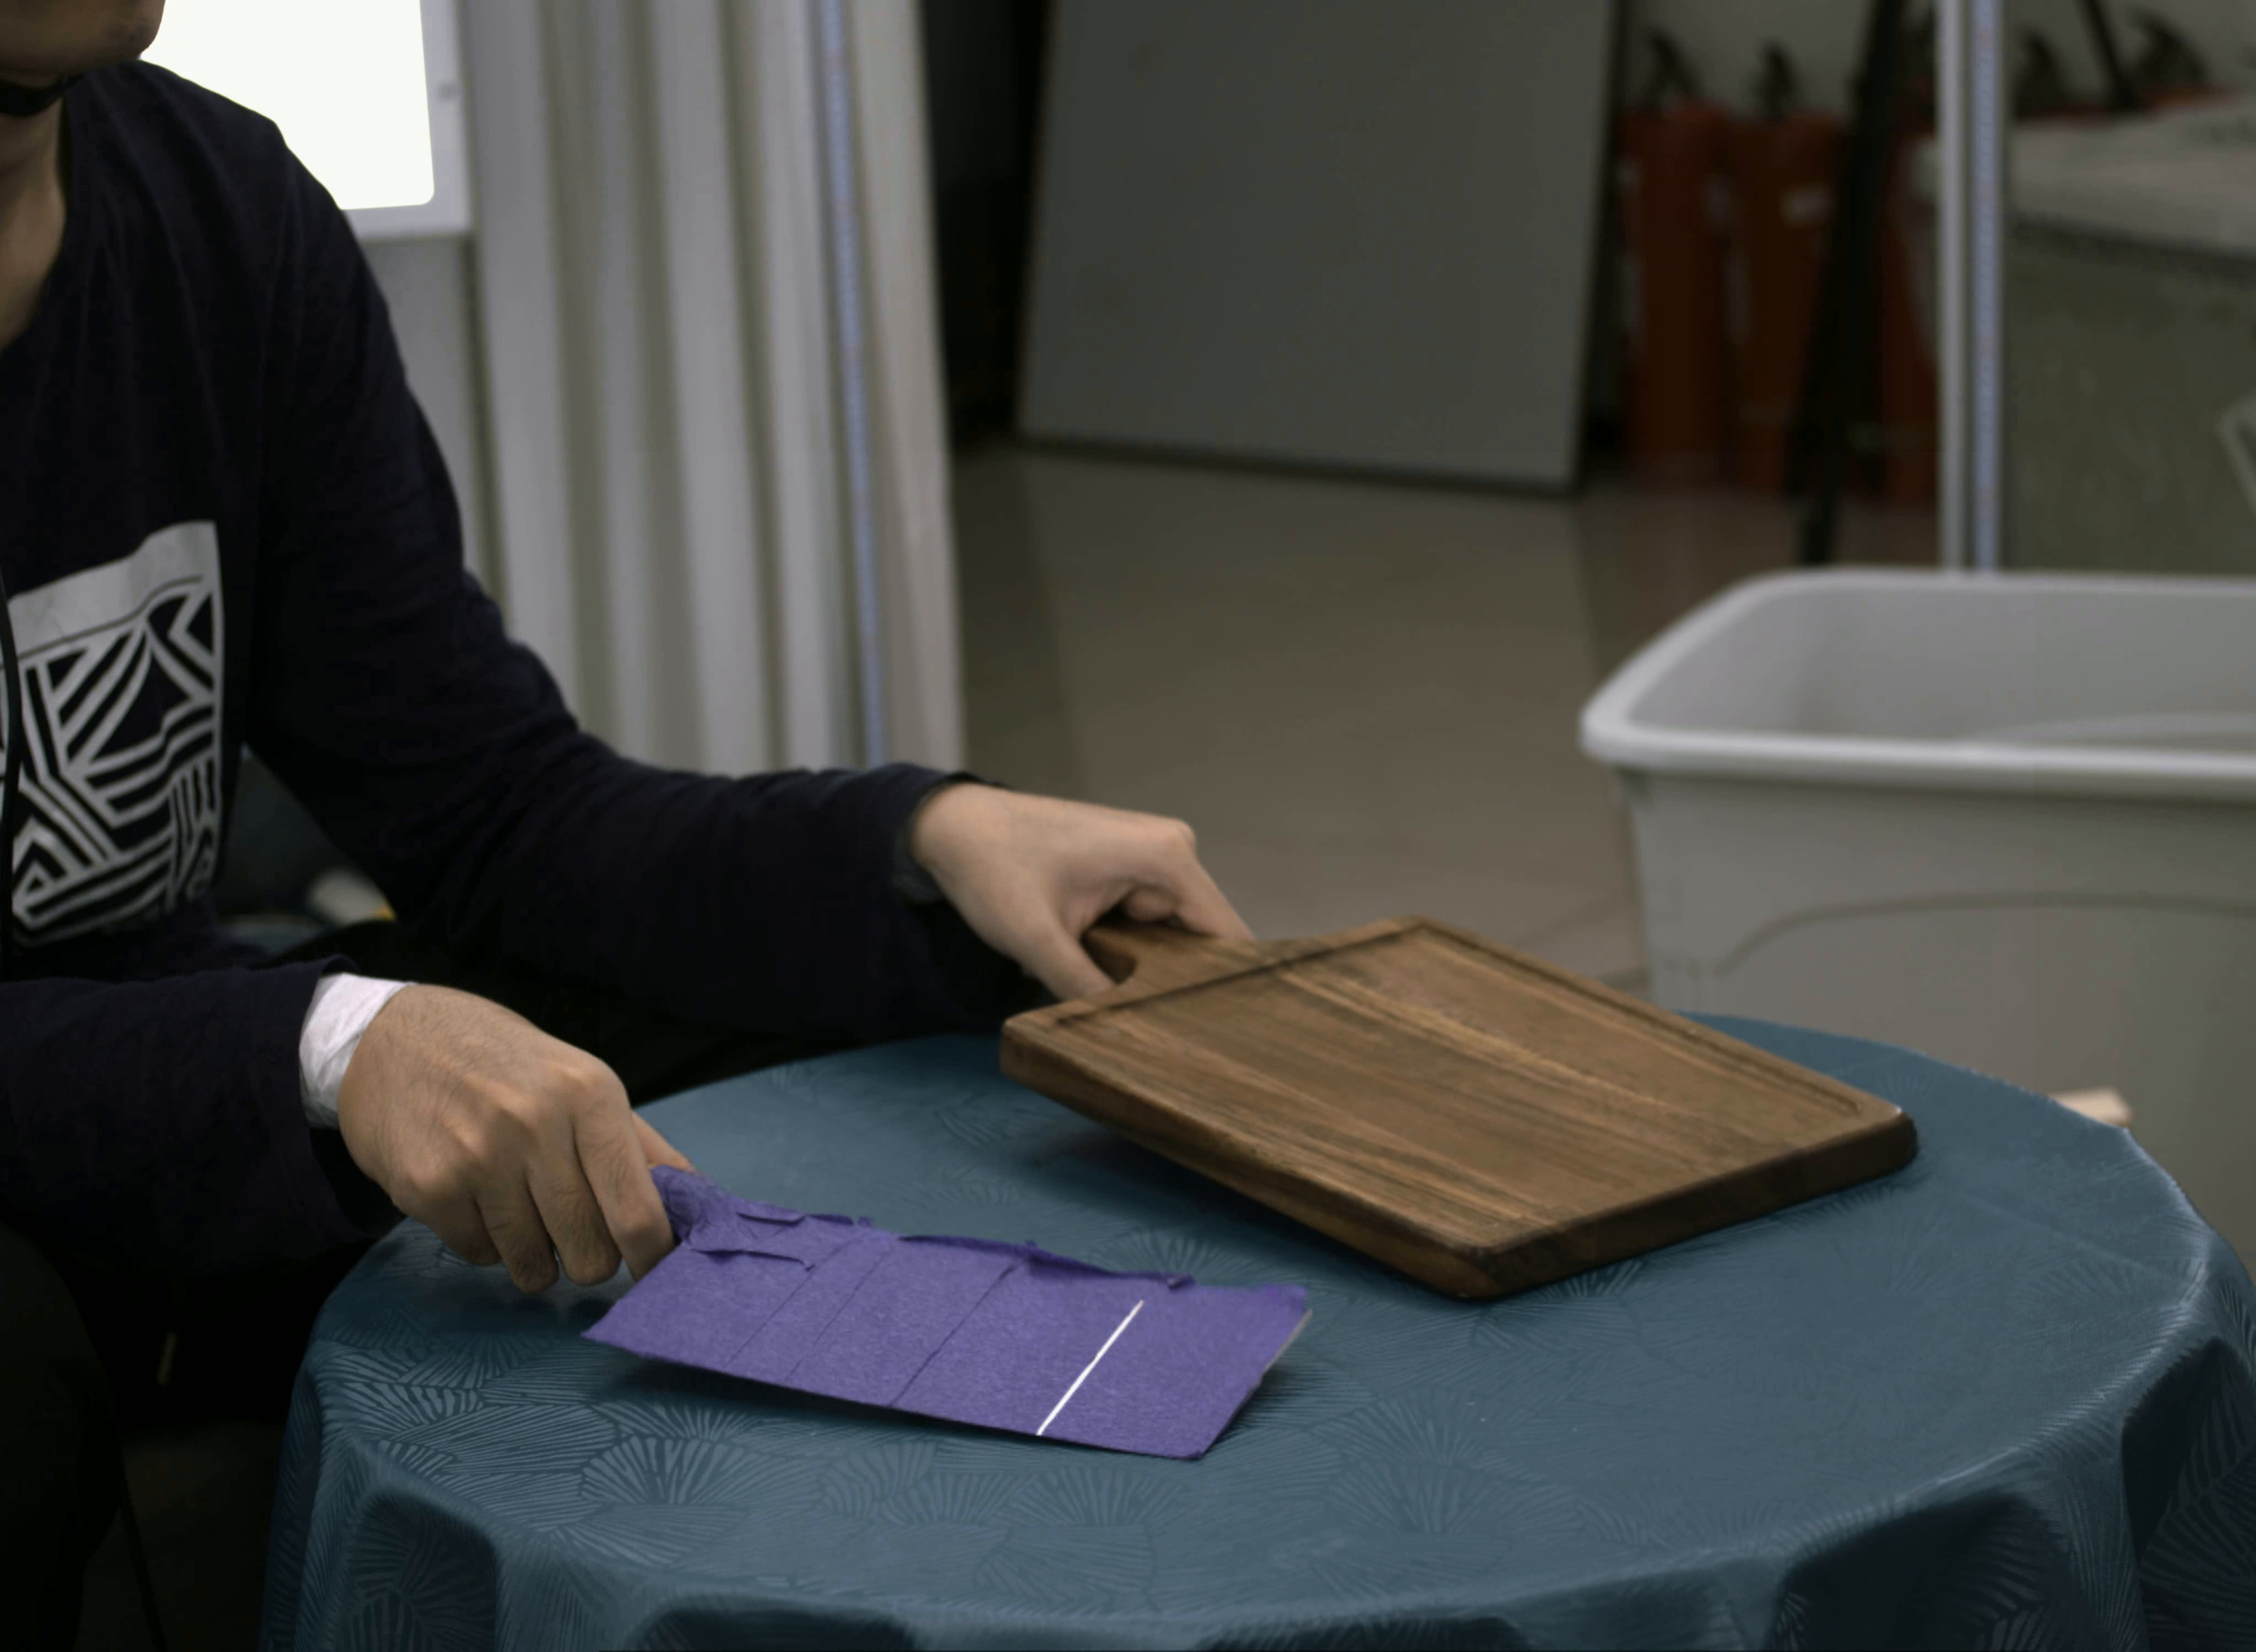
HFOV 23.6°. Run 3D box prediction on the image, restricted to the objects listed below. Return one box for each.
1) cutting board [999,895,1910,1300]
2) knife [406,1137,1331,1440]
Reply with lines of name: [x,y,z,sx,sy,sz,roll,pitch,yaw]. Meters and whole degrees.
cutting board: [0.076,0.077,1.820,0.196,0.023,0.356,-13,22,-35]
knife: [-0.097,0.138,1.630,0.316,0.032,0.102,6,24,27]
